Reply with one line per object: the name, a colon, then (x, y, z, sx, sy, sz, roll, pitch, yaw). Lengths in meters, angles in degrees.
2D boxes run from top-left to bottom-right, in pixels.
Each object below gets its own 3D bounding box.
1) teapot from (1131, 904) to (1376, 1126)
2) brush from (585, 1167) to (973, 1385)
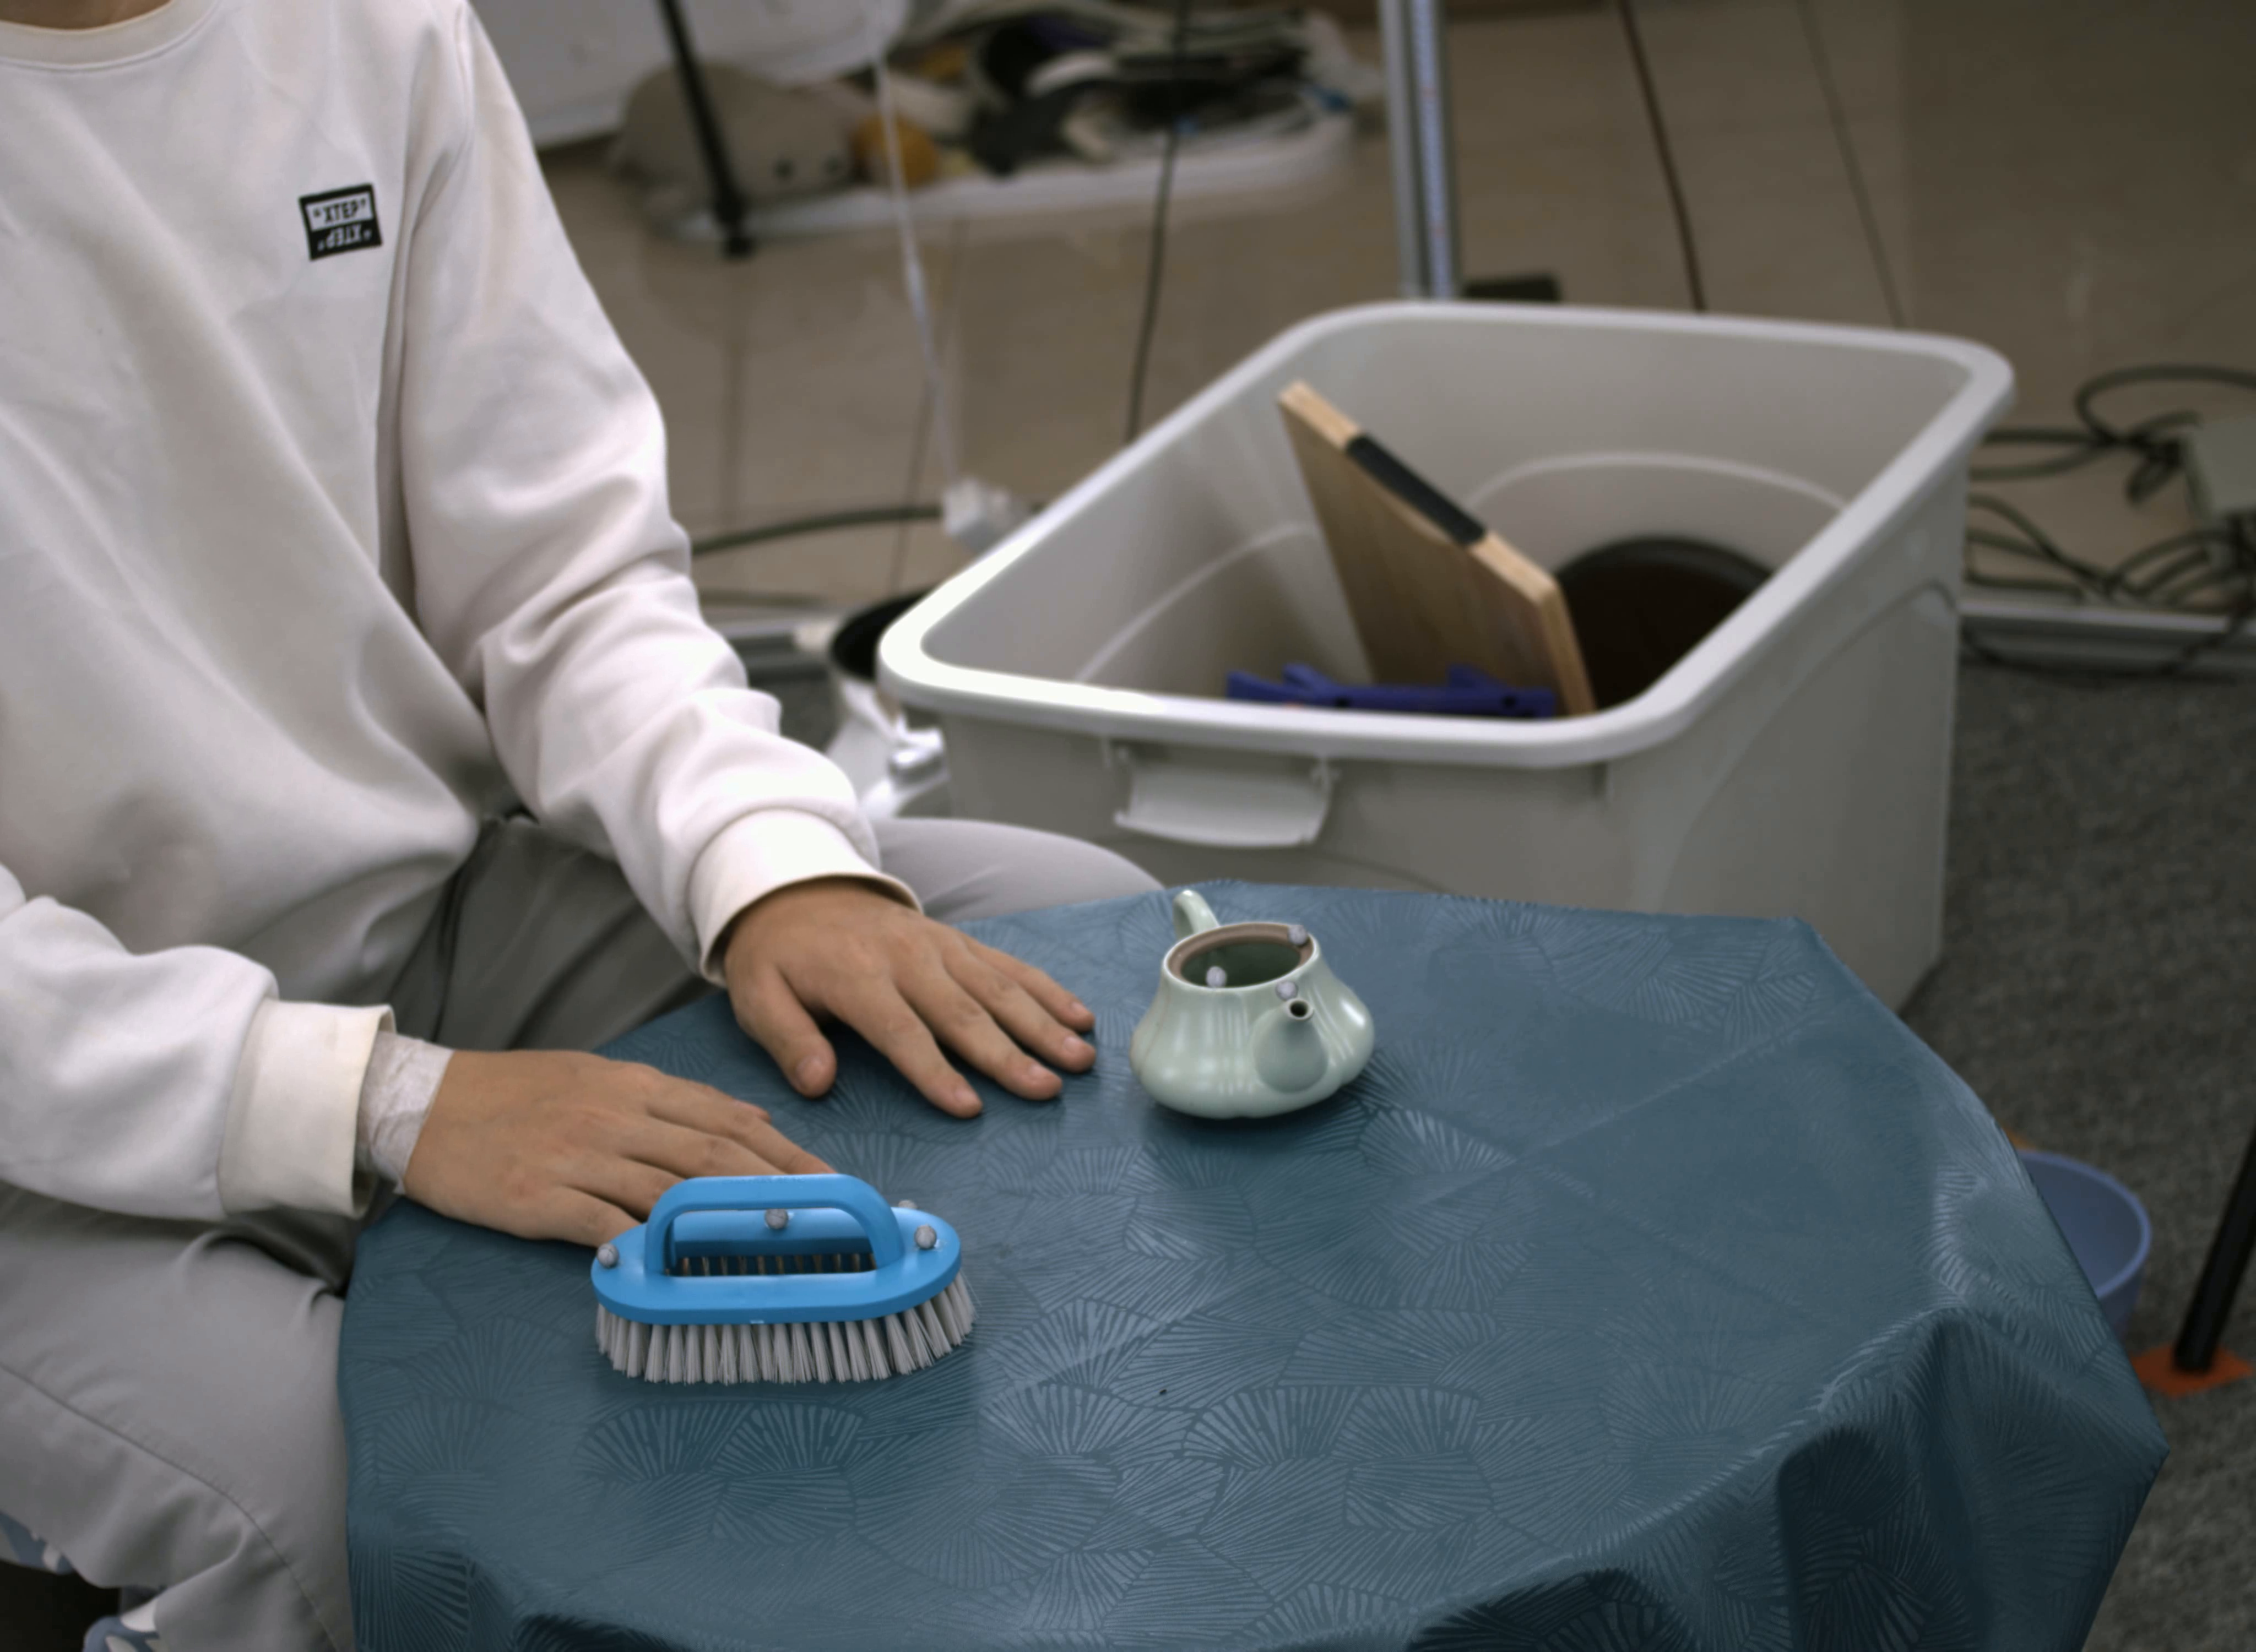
teapot: (0.045, 0.074, 2.203, 0.096, 0.062, 0.135, -20, 26, -17)
brush: (-0.130, 0.155, 2.064, 0.141, 0.065, 0.083, -2, 30, 12)
